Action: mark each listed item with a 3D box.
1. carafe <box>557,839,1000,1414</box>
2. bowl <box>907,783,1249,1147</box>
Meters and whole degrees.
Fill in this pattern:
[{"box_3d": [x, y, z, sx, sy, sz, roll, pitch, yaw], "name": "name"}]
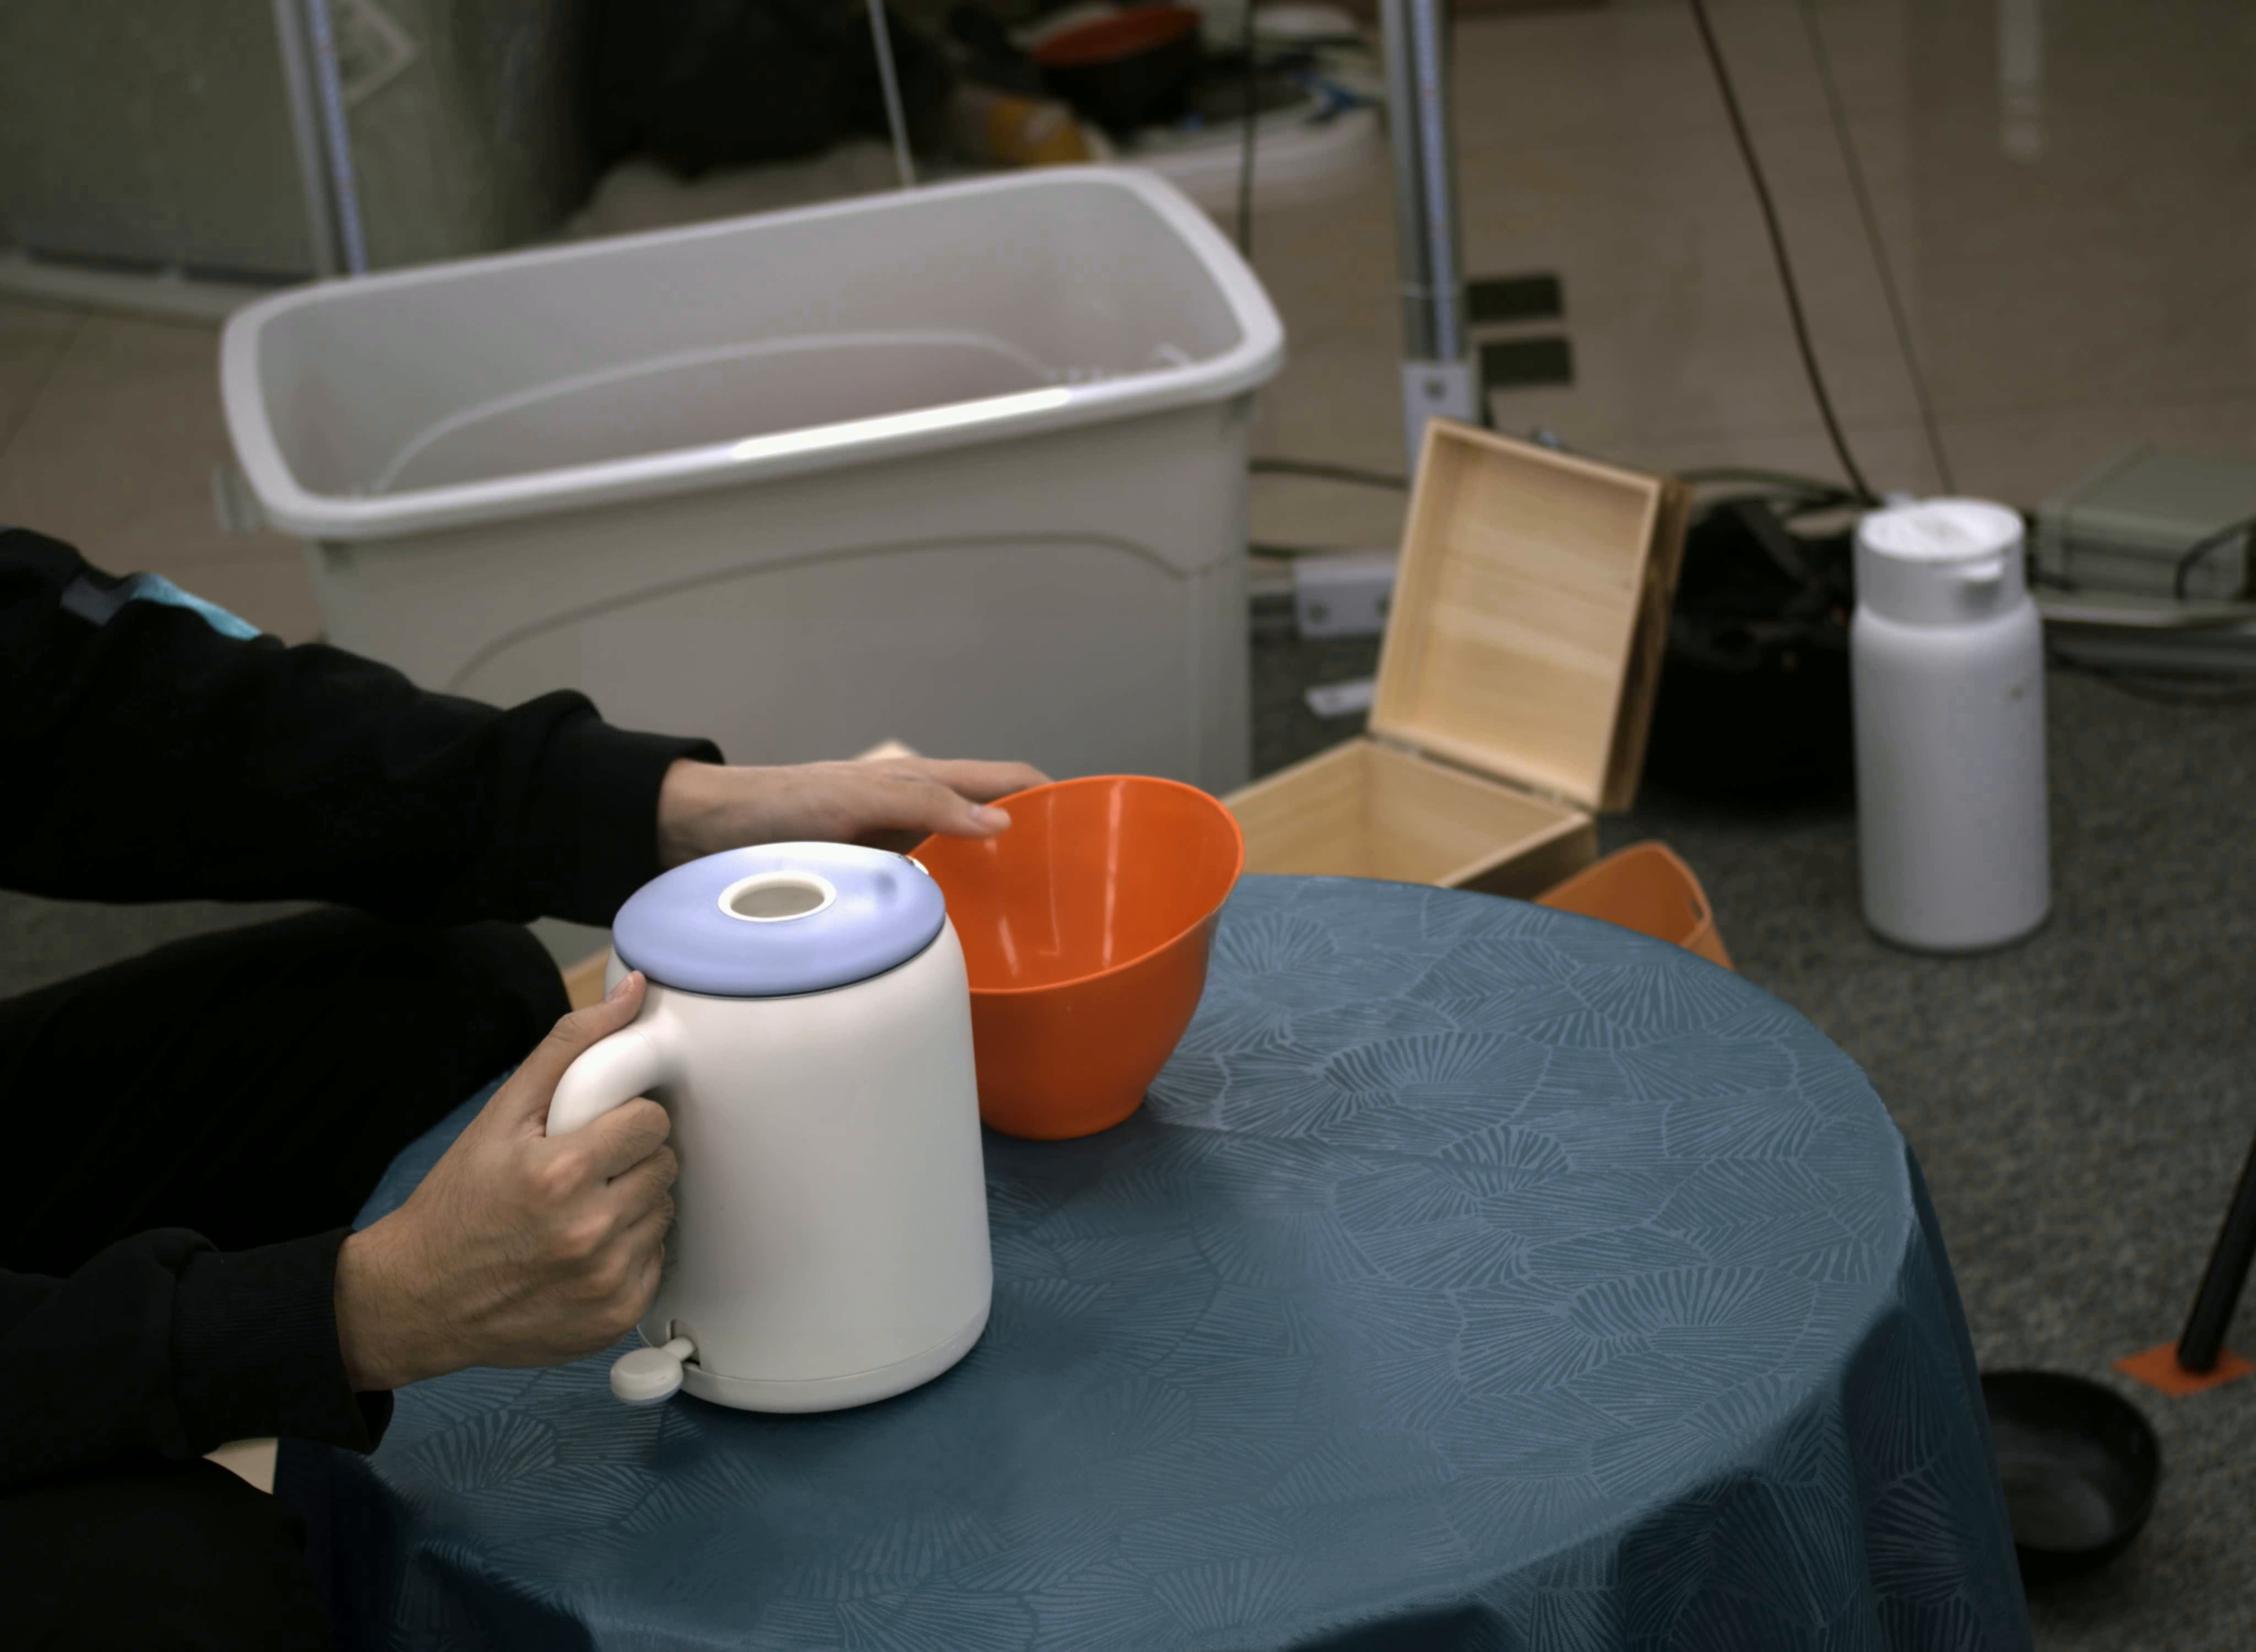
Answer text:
[{"box_3d": [-0.133, 0.116, 2.015, 0.131, 0.185, 0.189, 15, 34, 38], "name": "carafe"}, {"box_3d": [-0.022, 0.060, 2.199, 0.148, 0.106, 0.146, -5, 25, 2], "name": "bowl"}]
